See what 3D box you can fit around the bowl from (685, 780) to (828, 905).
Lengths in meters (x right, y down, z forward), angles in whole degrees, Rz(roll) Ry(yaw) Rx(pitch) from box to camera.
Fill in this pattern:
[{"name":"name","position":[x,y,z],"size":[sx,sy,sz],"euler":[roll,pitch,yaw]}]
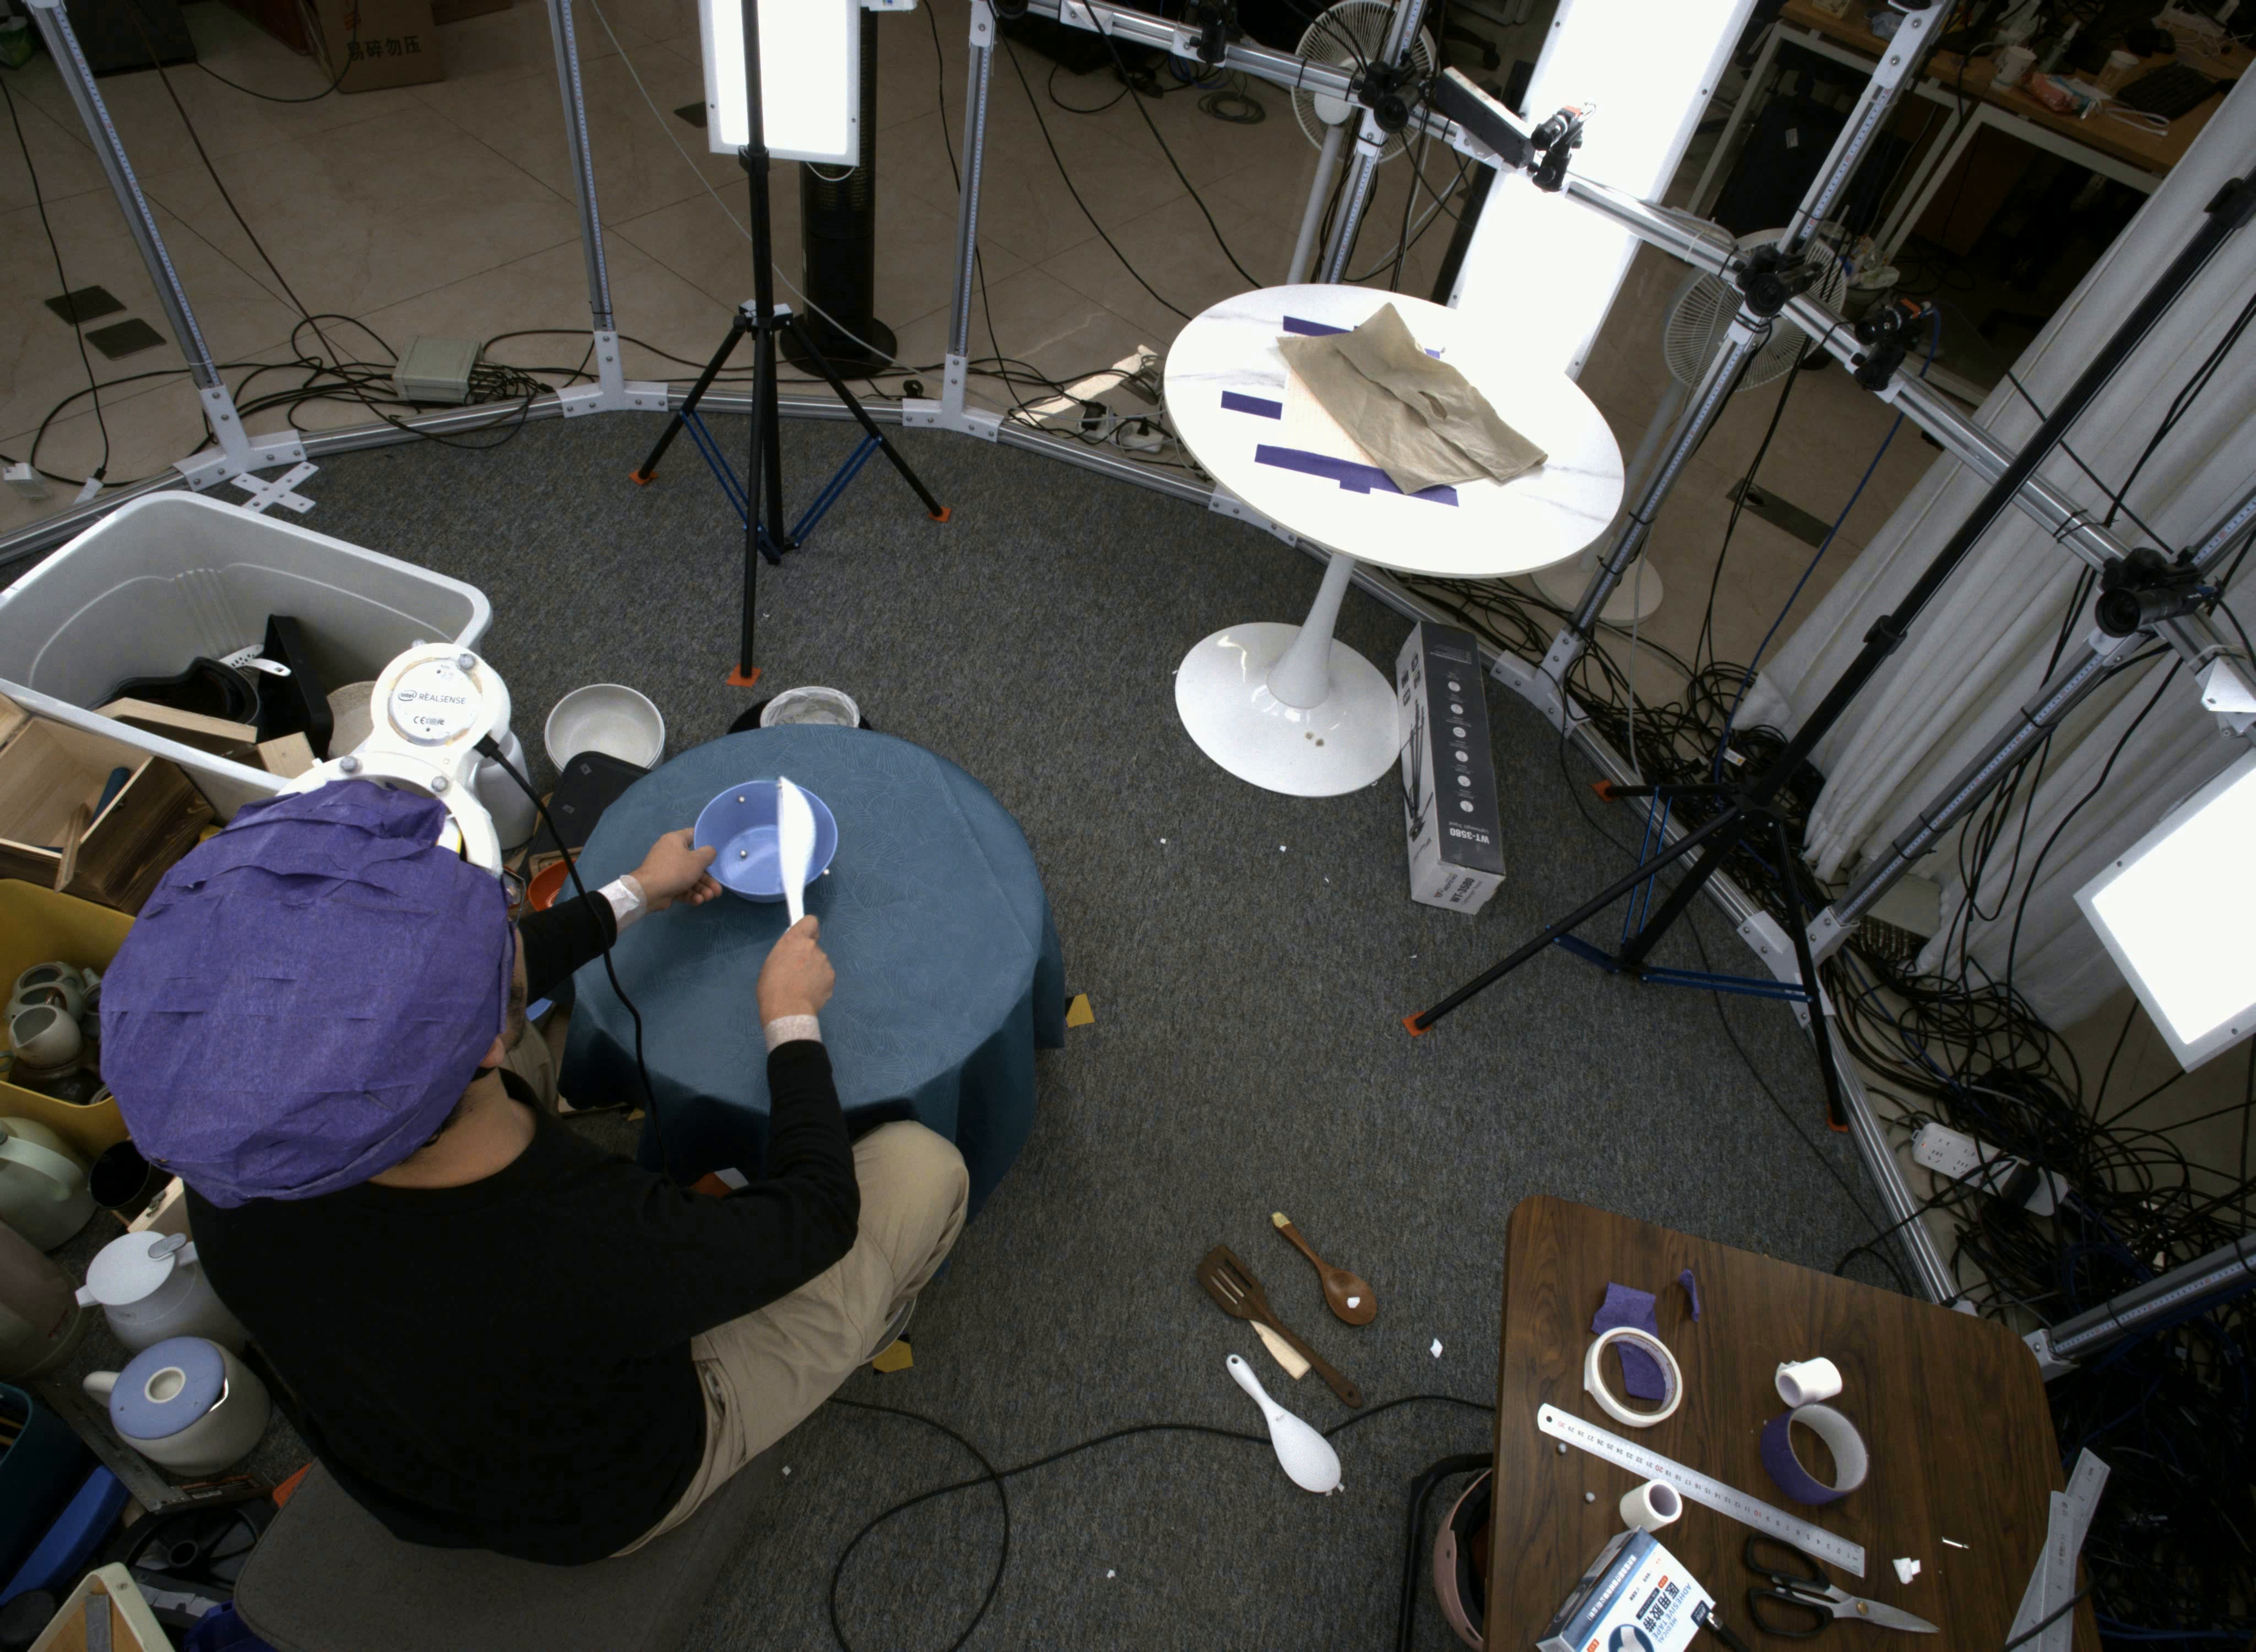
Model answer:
[{"name":"bowl","position":[-0.467,0.031,1.637],"size":[0.176,0.071,0.173],"euler":[8,55,-9]}]

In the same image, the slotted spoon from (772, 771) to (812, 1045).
[{"name":"slotted spoon","position":[-0.395,0.090,1.517],"size":[0.046,0.138,0.343],"euler":[0,56,-15]}]
